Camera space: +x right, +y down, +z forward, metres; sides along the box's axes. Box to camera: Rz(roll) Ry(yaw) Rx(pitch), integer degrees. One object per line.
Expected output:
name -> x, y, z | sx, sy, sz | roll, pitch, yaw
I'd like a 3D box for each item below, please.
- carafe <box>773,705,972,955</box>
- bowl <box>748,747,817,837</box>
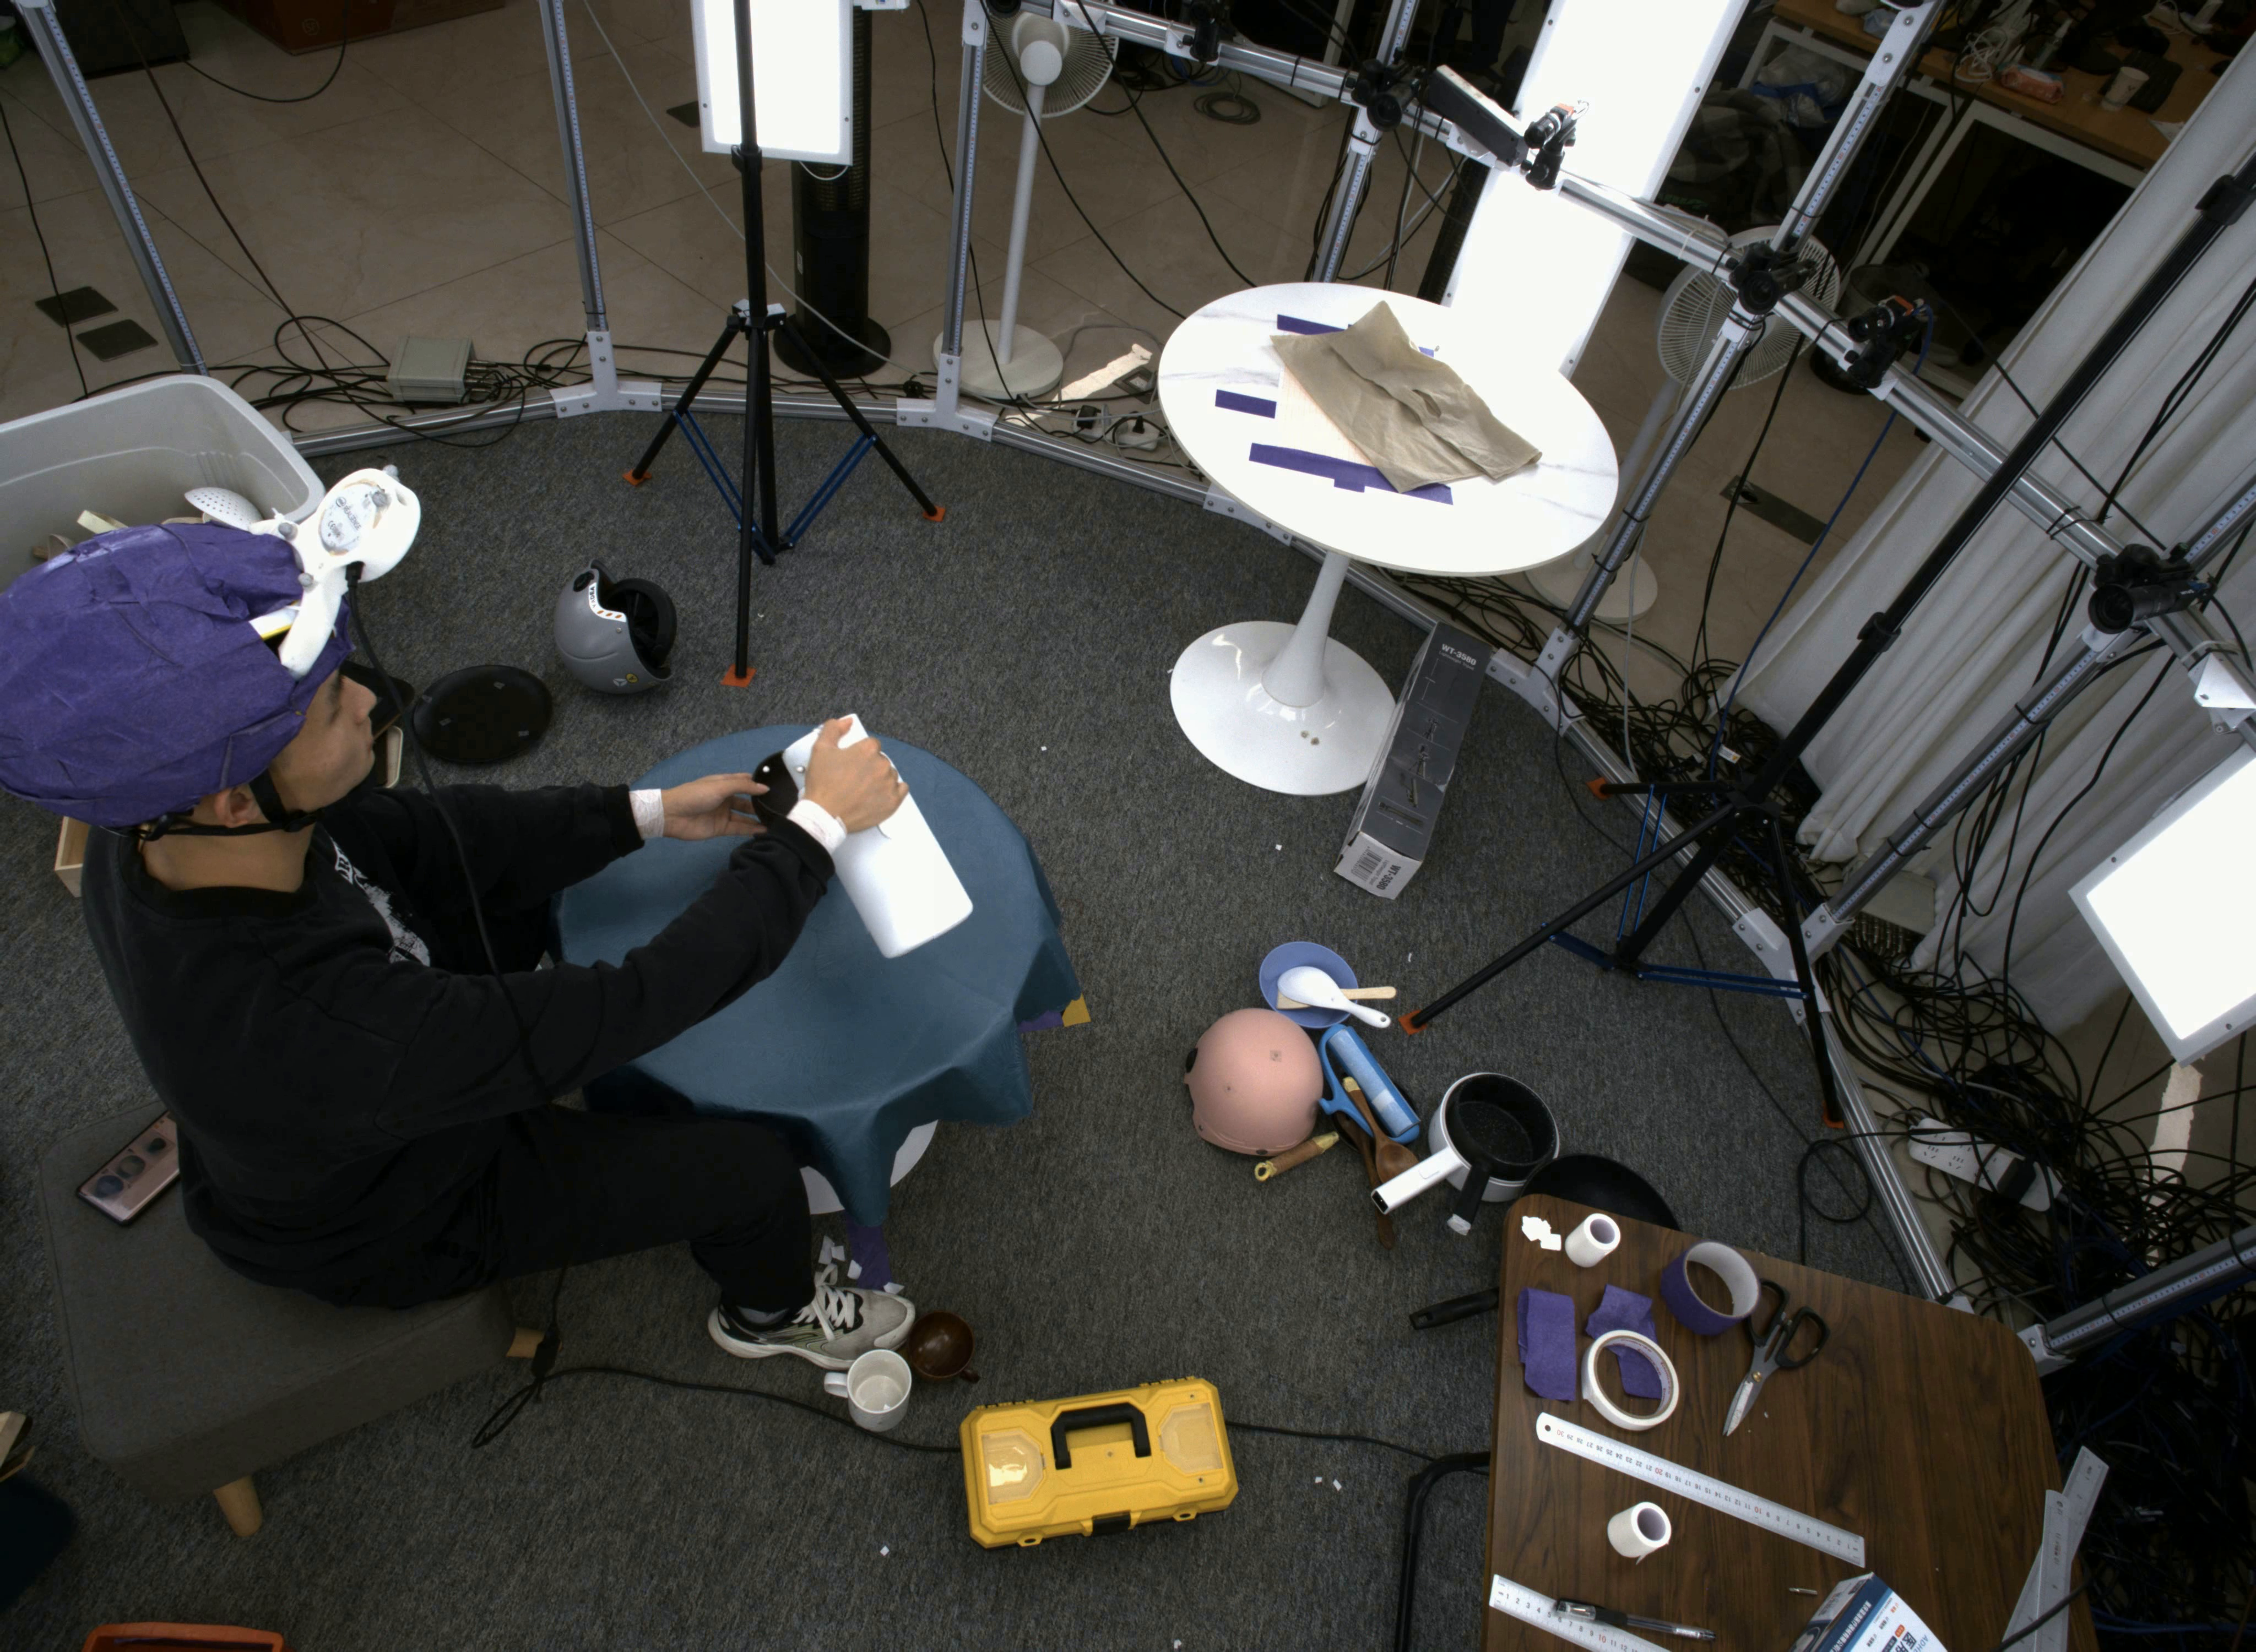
carafe -> -0.283, 0.000, 1.454 | 0.124, 0.170, 0.272 | -30, 94, -24
bowl -> -0.416, -0.037, 1.626 | 0.118, 0.071, 0.116 | 8, 52, -9
